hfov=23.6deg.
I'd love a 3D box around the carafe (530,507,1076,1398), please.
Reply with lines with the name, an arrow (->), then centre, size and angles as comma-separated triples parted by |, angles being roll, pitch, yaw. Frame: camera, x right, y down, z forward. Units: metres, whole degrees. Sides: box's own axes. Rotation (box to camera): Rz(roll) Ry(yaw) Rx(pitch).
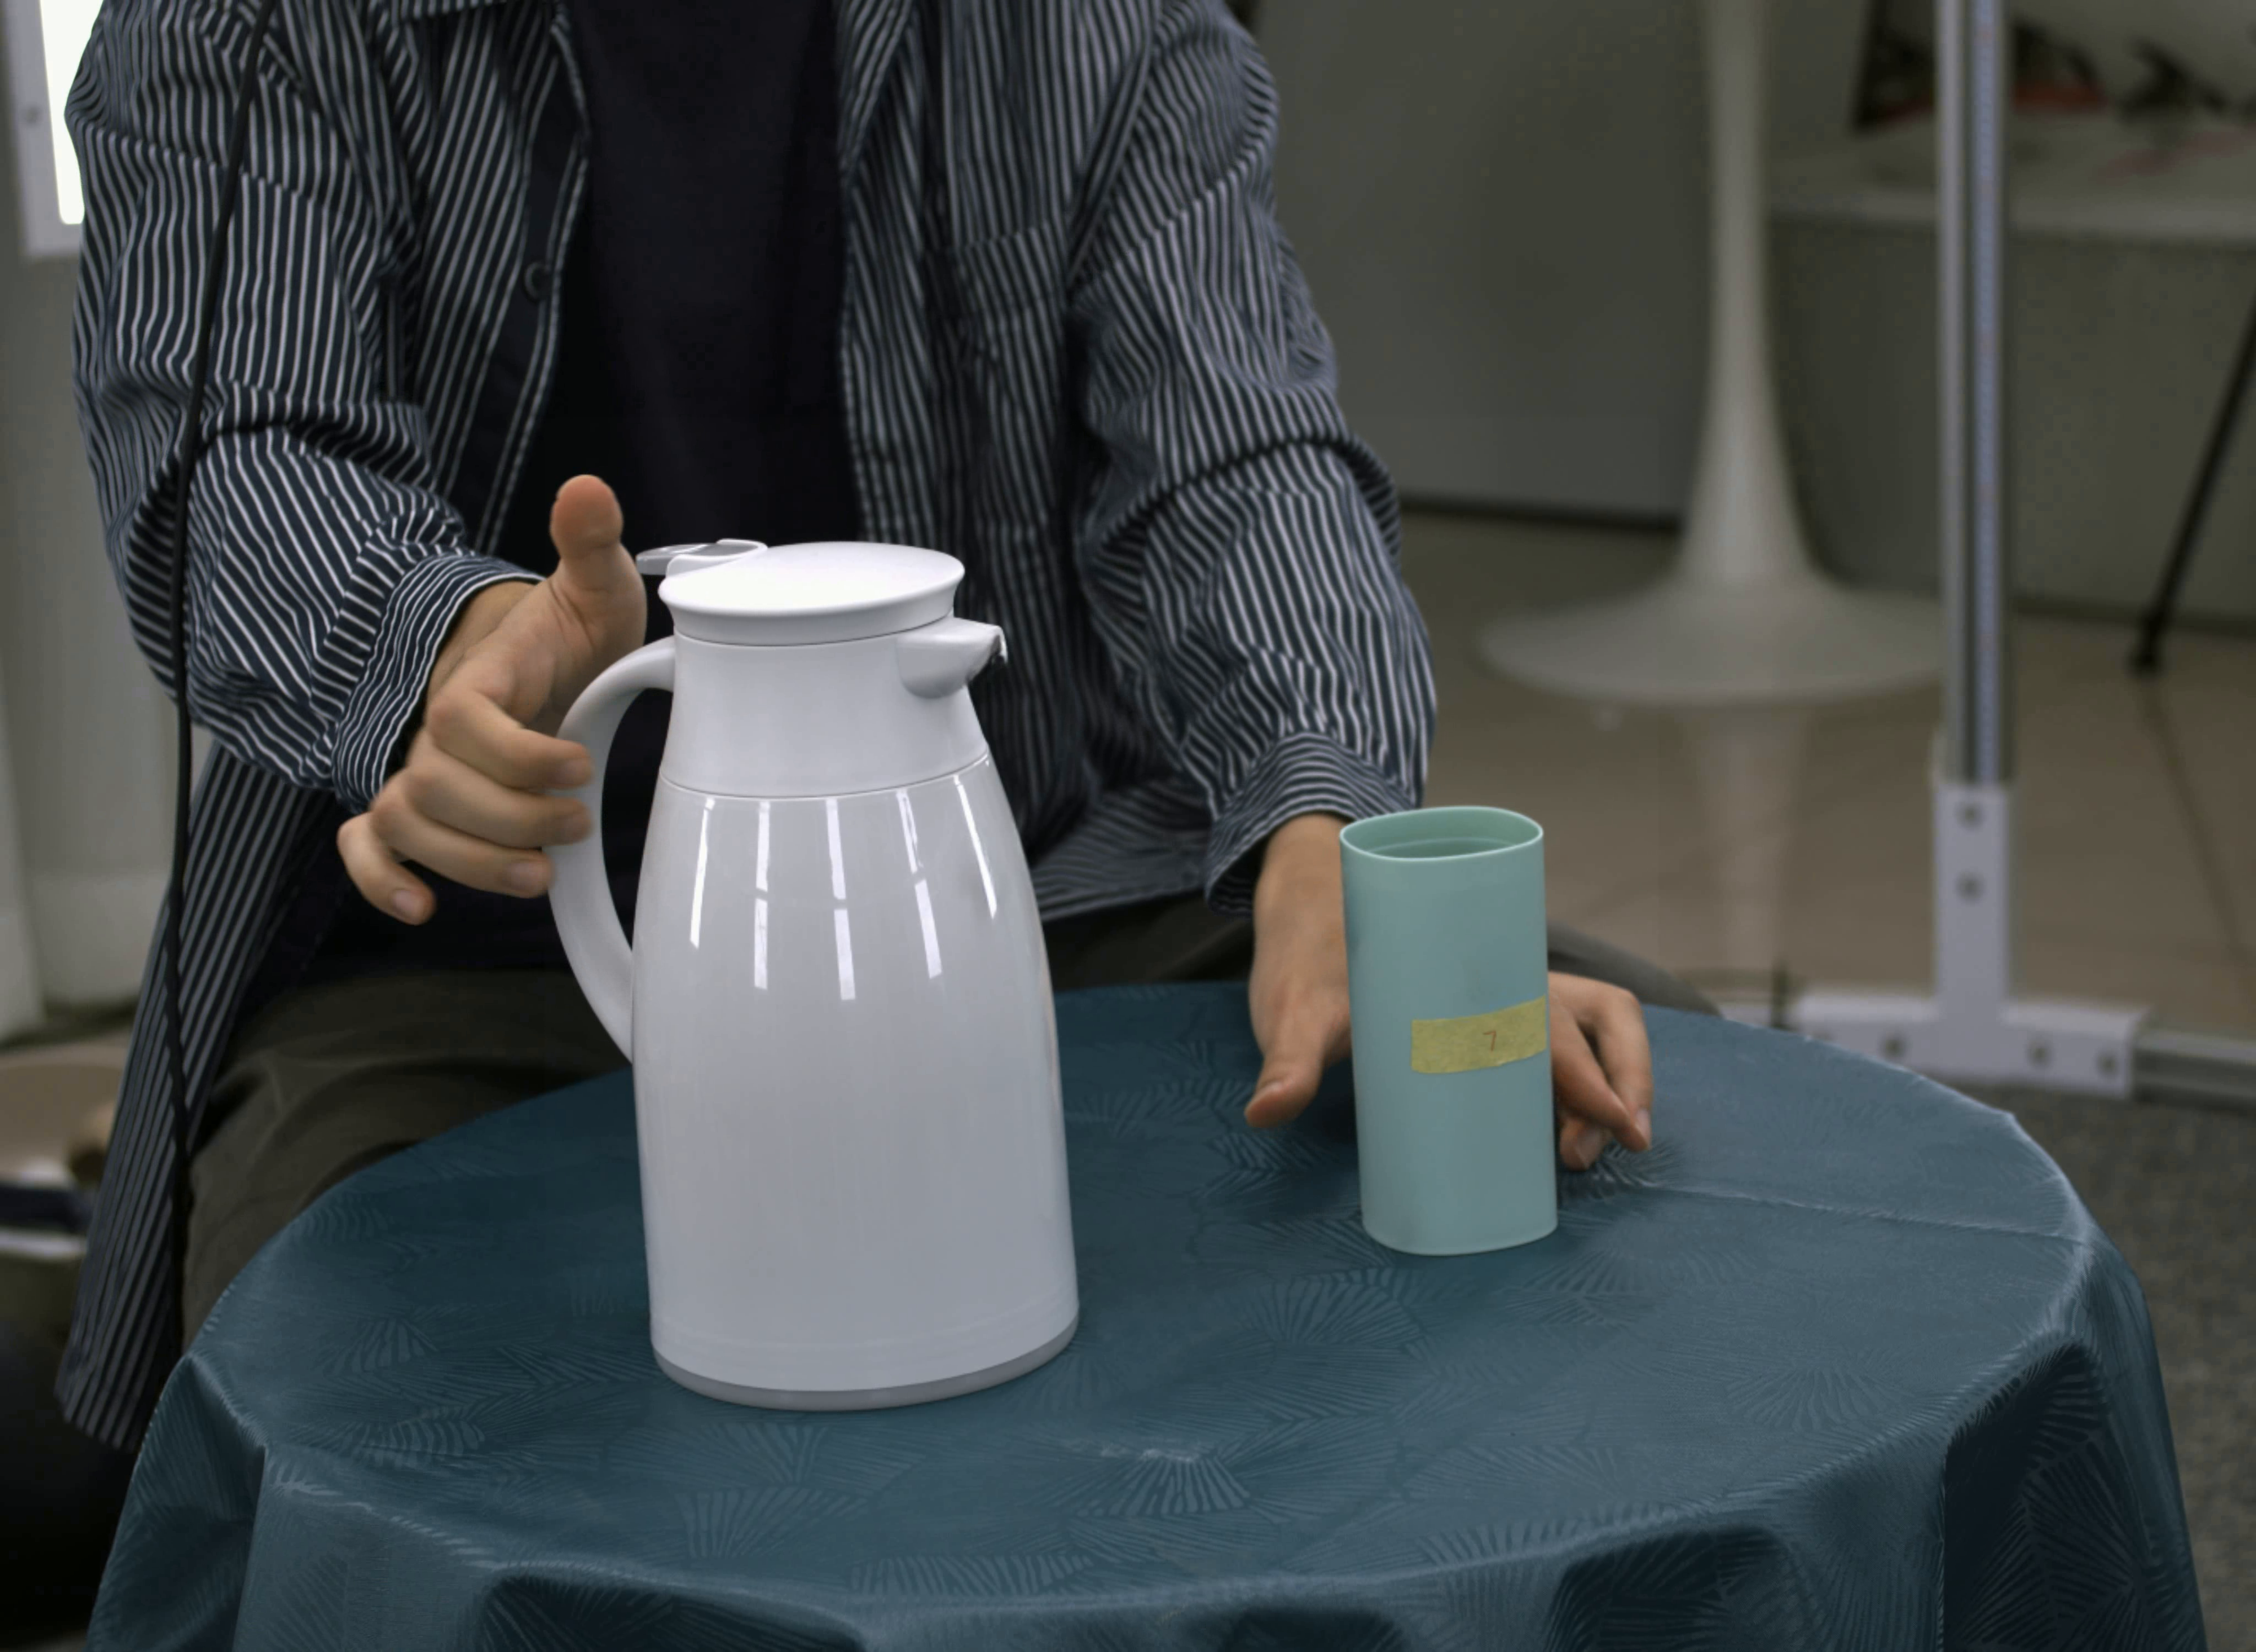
carafe -> -0.105, 0.030, 1.626 | 0.168, 0.251, 0.130 | 3, 15, 30

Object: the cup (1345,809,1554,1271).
cup -> 0.102, 0.066, 1.696 | 0.066, 0.134, 0.067 | -3, 15, 0
